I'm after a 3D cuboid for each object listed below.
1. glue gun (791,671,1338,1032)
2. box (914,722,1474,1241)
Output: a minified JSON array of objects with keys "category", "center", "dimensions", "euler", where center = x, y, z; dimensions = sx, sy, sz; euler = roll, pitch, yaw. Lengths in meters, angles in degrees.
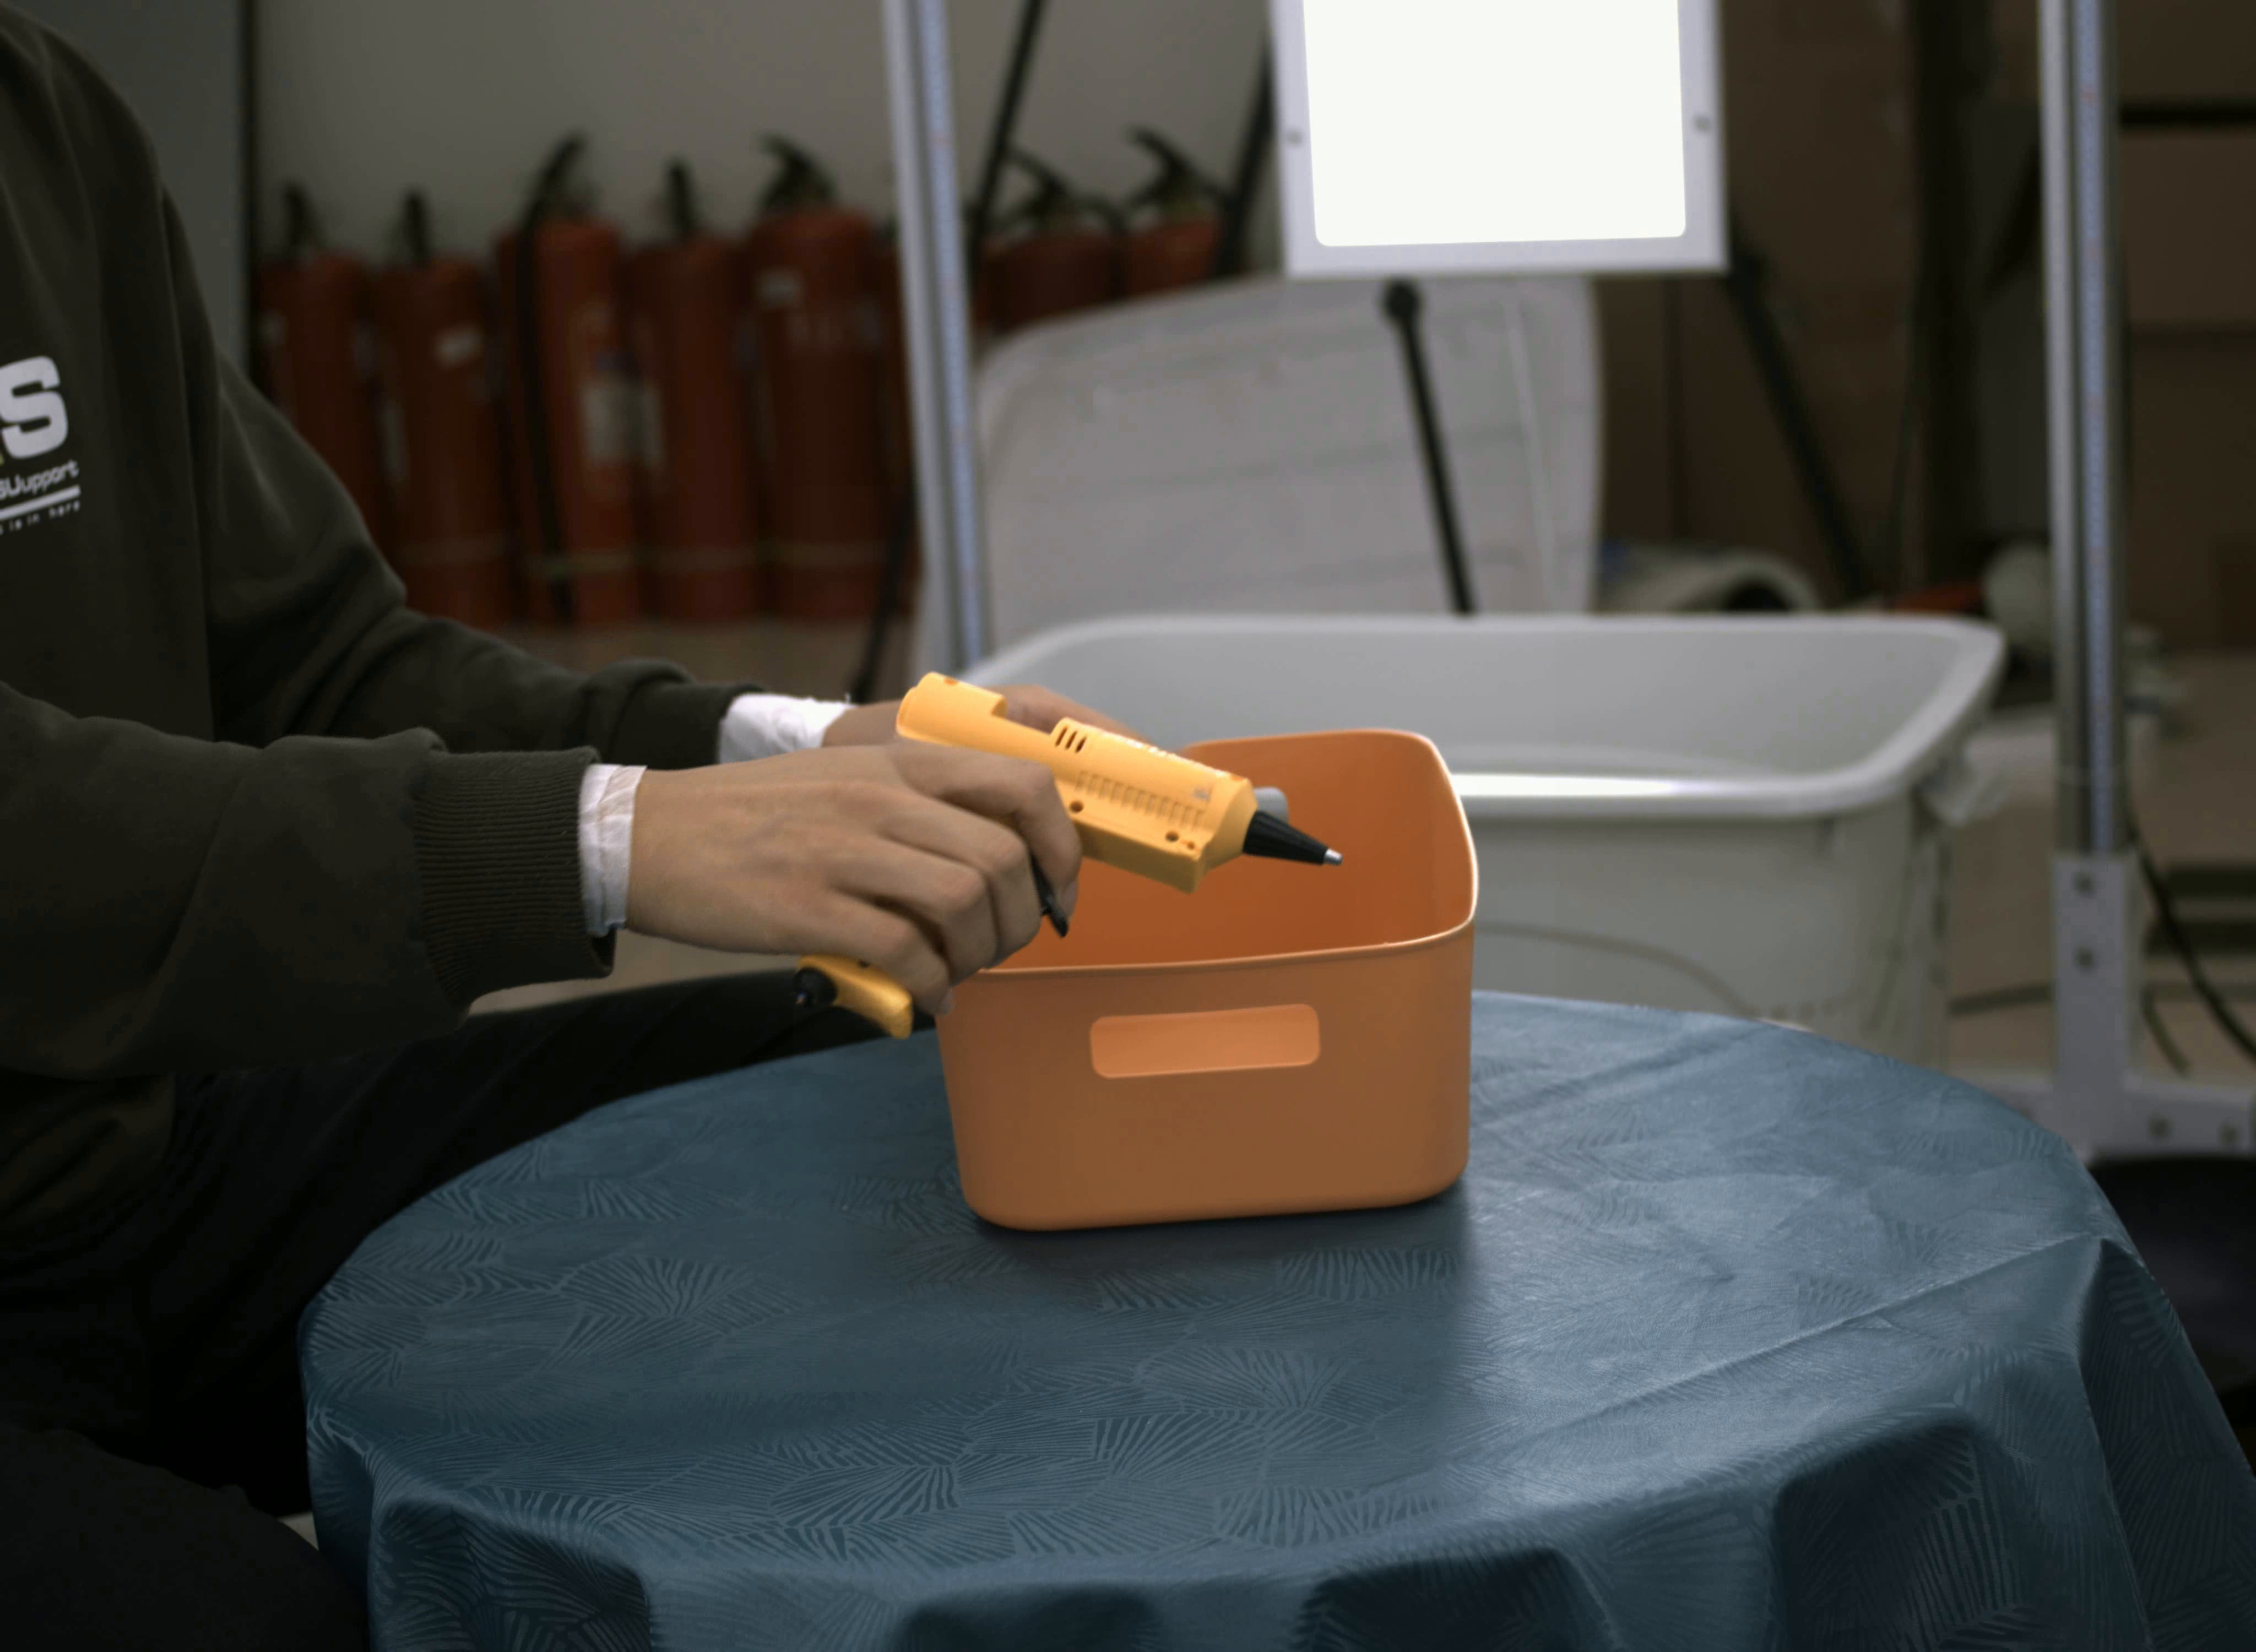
[{"category":"glue gun","center":[-0.016,0.020,1.734],"dimensions":[0.152,0.031,0.131],"euler":[14,54,10]},{"category":"box","center":[0.025,0.054,1.956],"dimensions":[0.199,0.103,0.272],"euler":[-6,17,2]}]
